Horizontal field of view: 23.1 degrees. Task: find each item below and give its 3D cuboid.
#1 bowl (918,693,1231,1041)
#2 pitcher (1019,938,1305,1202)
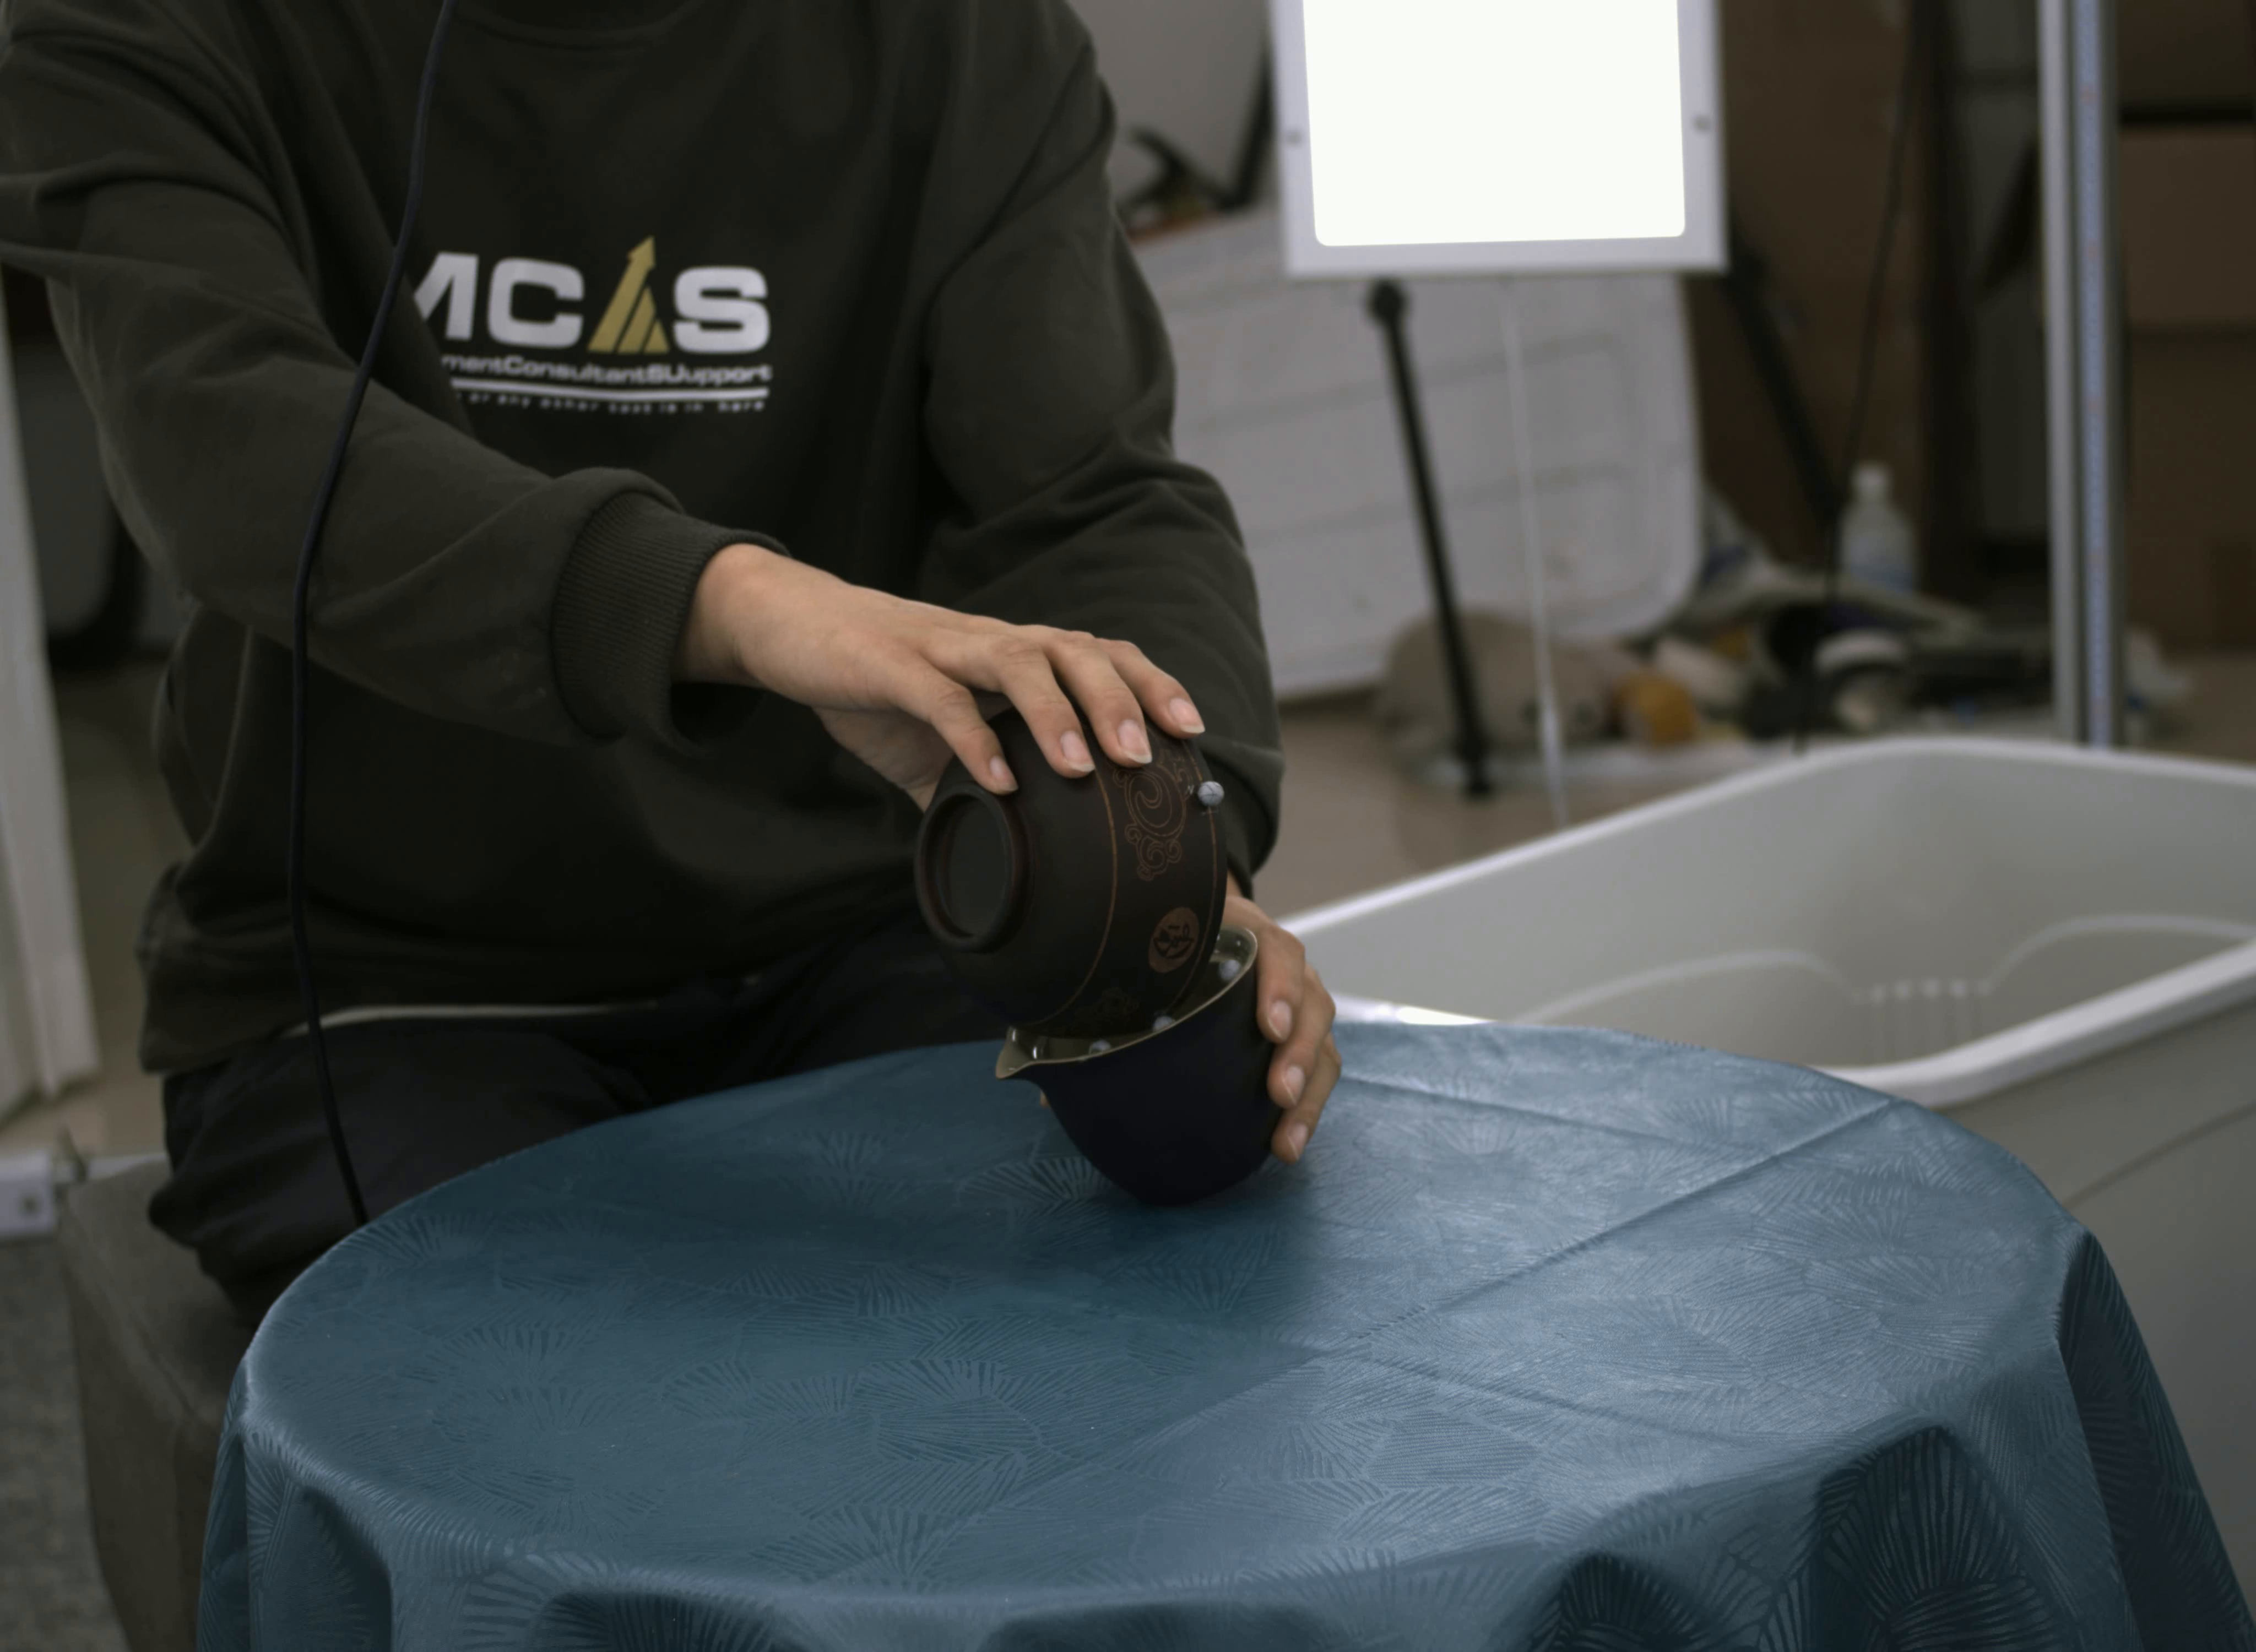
[{"bbox_3d":[-0.027,0.014,1.849,0.068,0.118,0.120,-2,10,-37],"label":"bowl"},{"bbox_3d":[0.018,0.088,1.886,0.095,0.071,0.084,-27,22,-5],"label":"pitcher"}]
